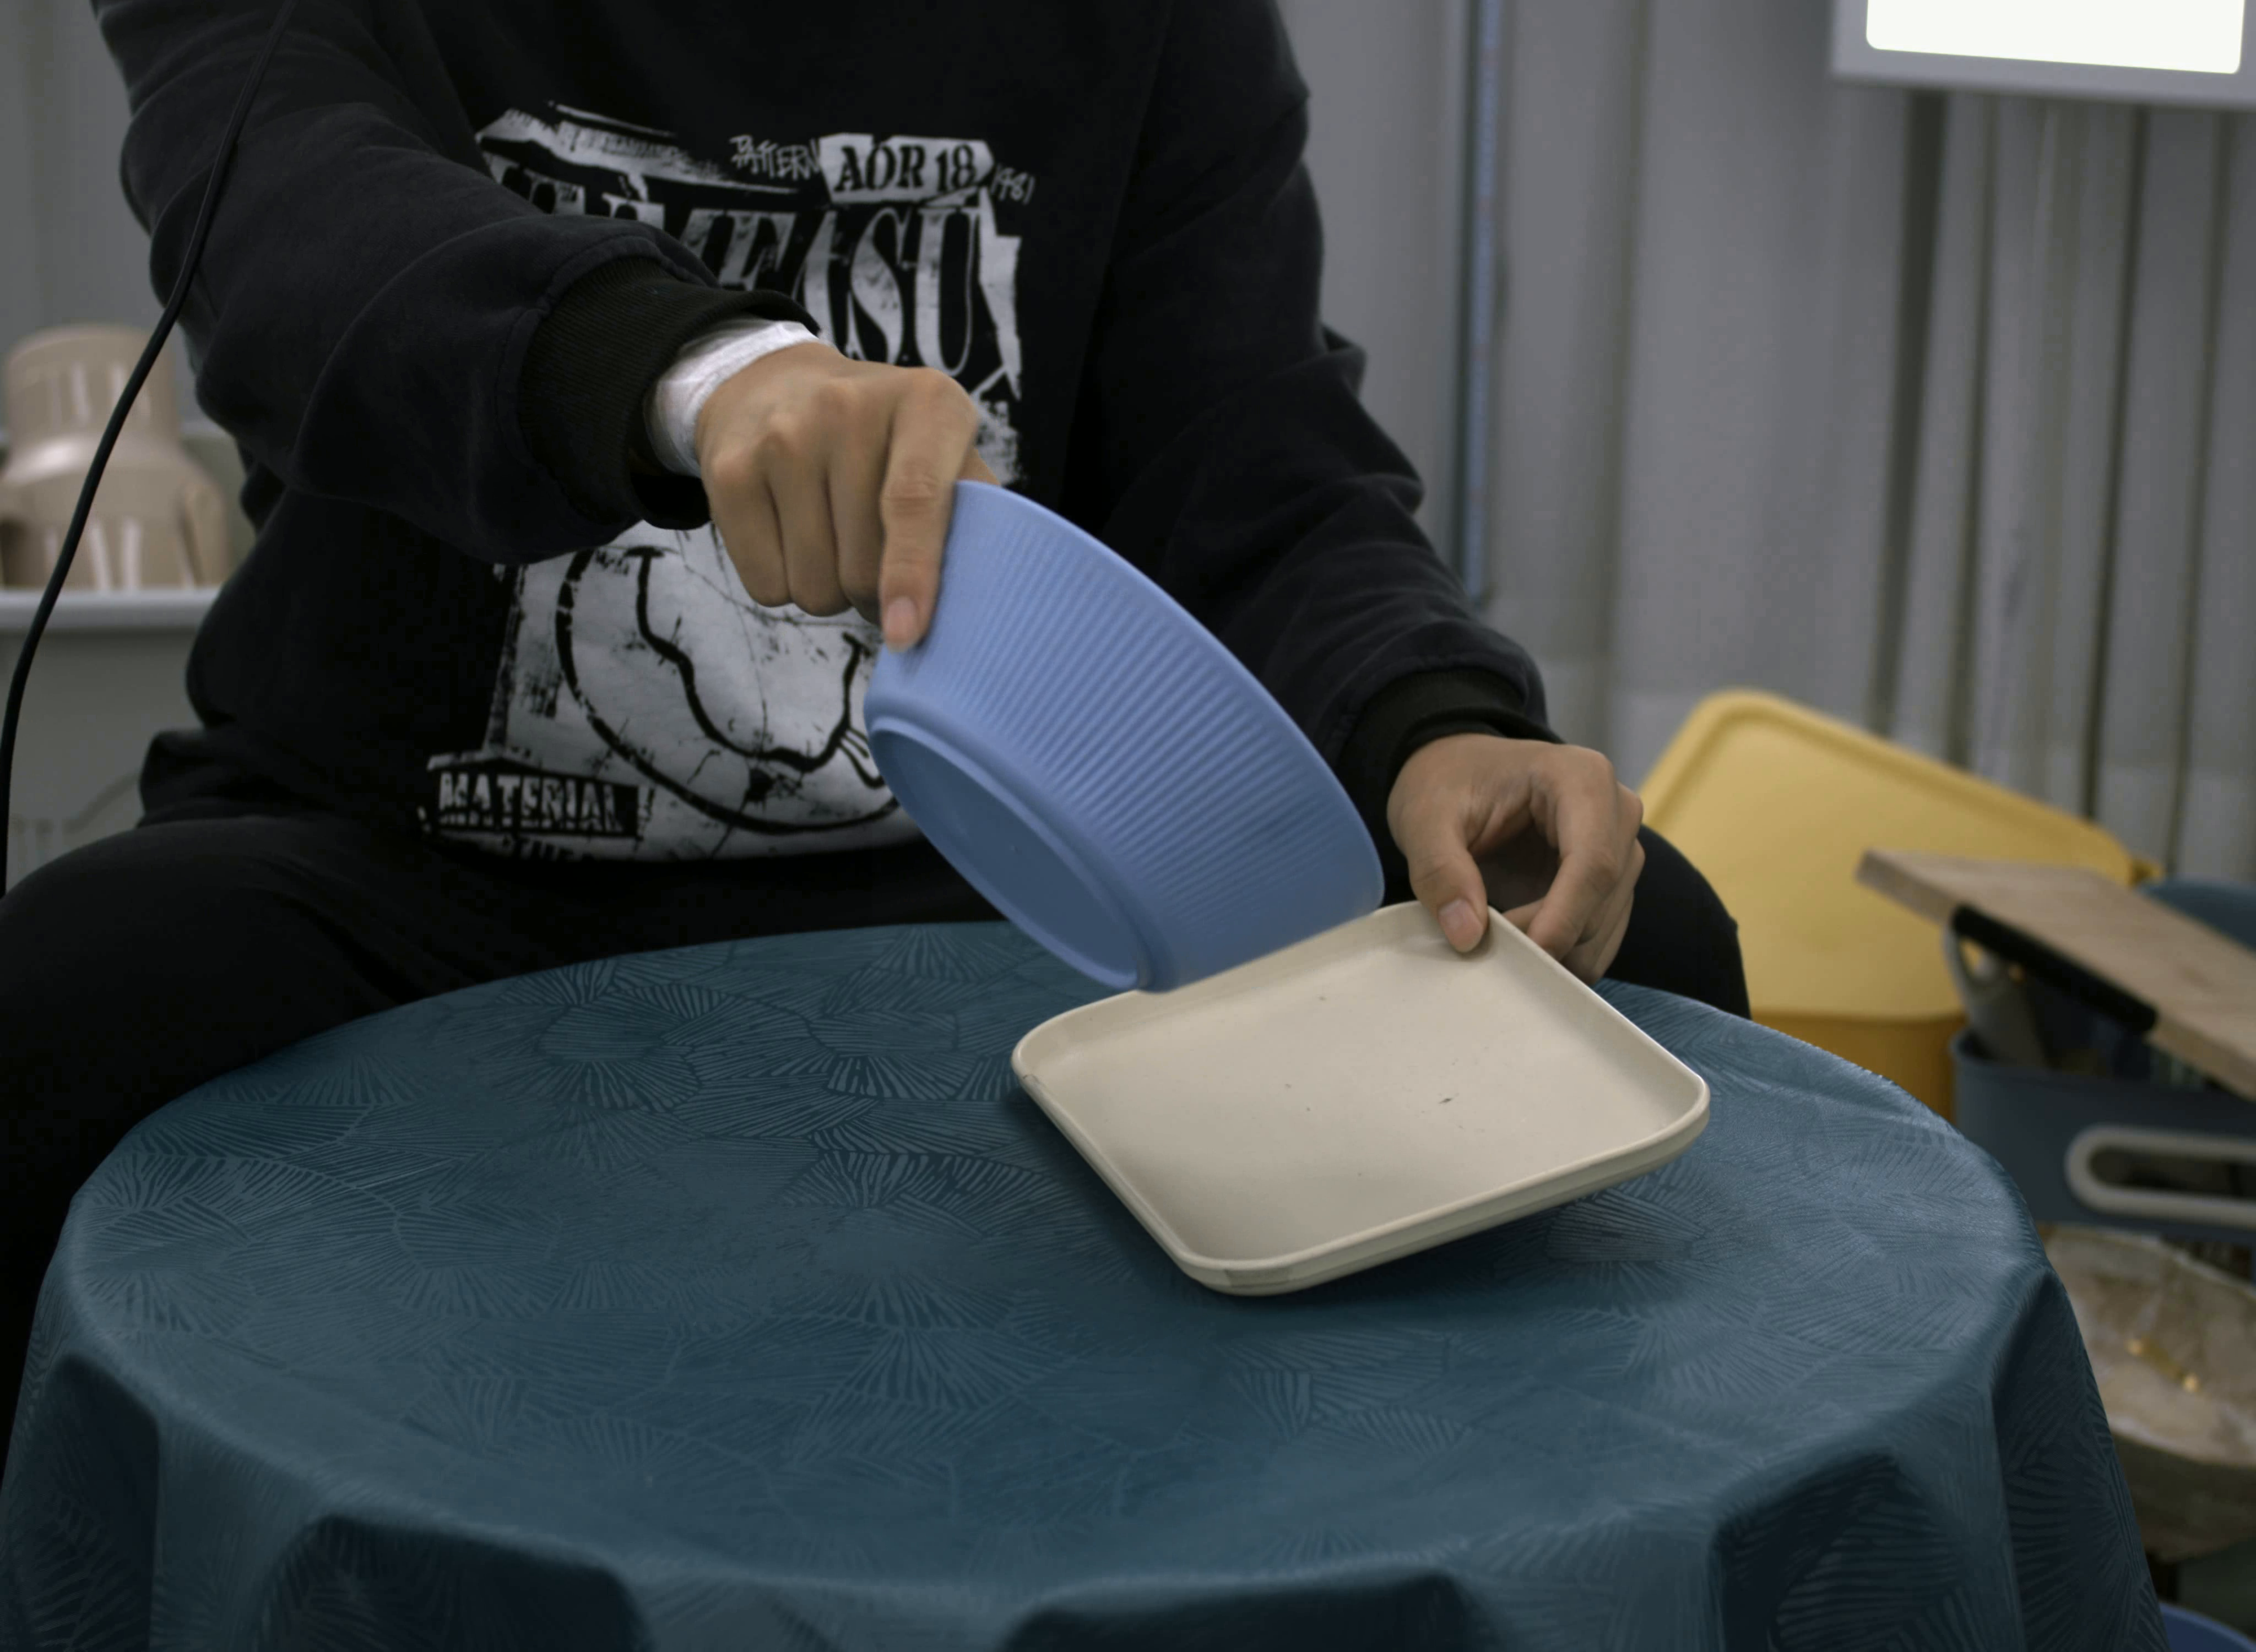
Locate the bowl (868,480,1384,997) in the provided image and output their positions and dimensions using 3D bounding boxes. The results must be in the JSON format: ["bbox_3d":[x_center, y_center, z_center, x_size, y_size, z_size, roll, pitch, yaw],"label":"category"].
[{"bbox_3d":[-0.012,-0.014,1.522,0.070,0.178,0.174,-45,35,-15],"label":"bowl"}]

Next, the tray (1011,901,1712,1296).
[{"bbox_3d":[0.069,0.083,1.641,0.171,0.017,0.237,-17,20,-13],"label":"tray"}]
